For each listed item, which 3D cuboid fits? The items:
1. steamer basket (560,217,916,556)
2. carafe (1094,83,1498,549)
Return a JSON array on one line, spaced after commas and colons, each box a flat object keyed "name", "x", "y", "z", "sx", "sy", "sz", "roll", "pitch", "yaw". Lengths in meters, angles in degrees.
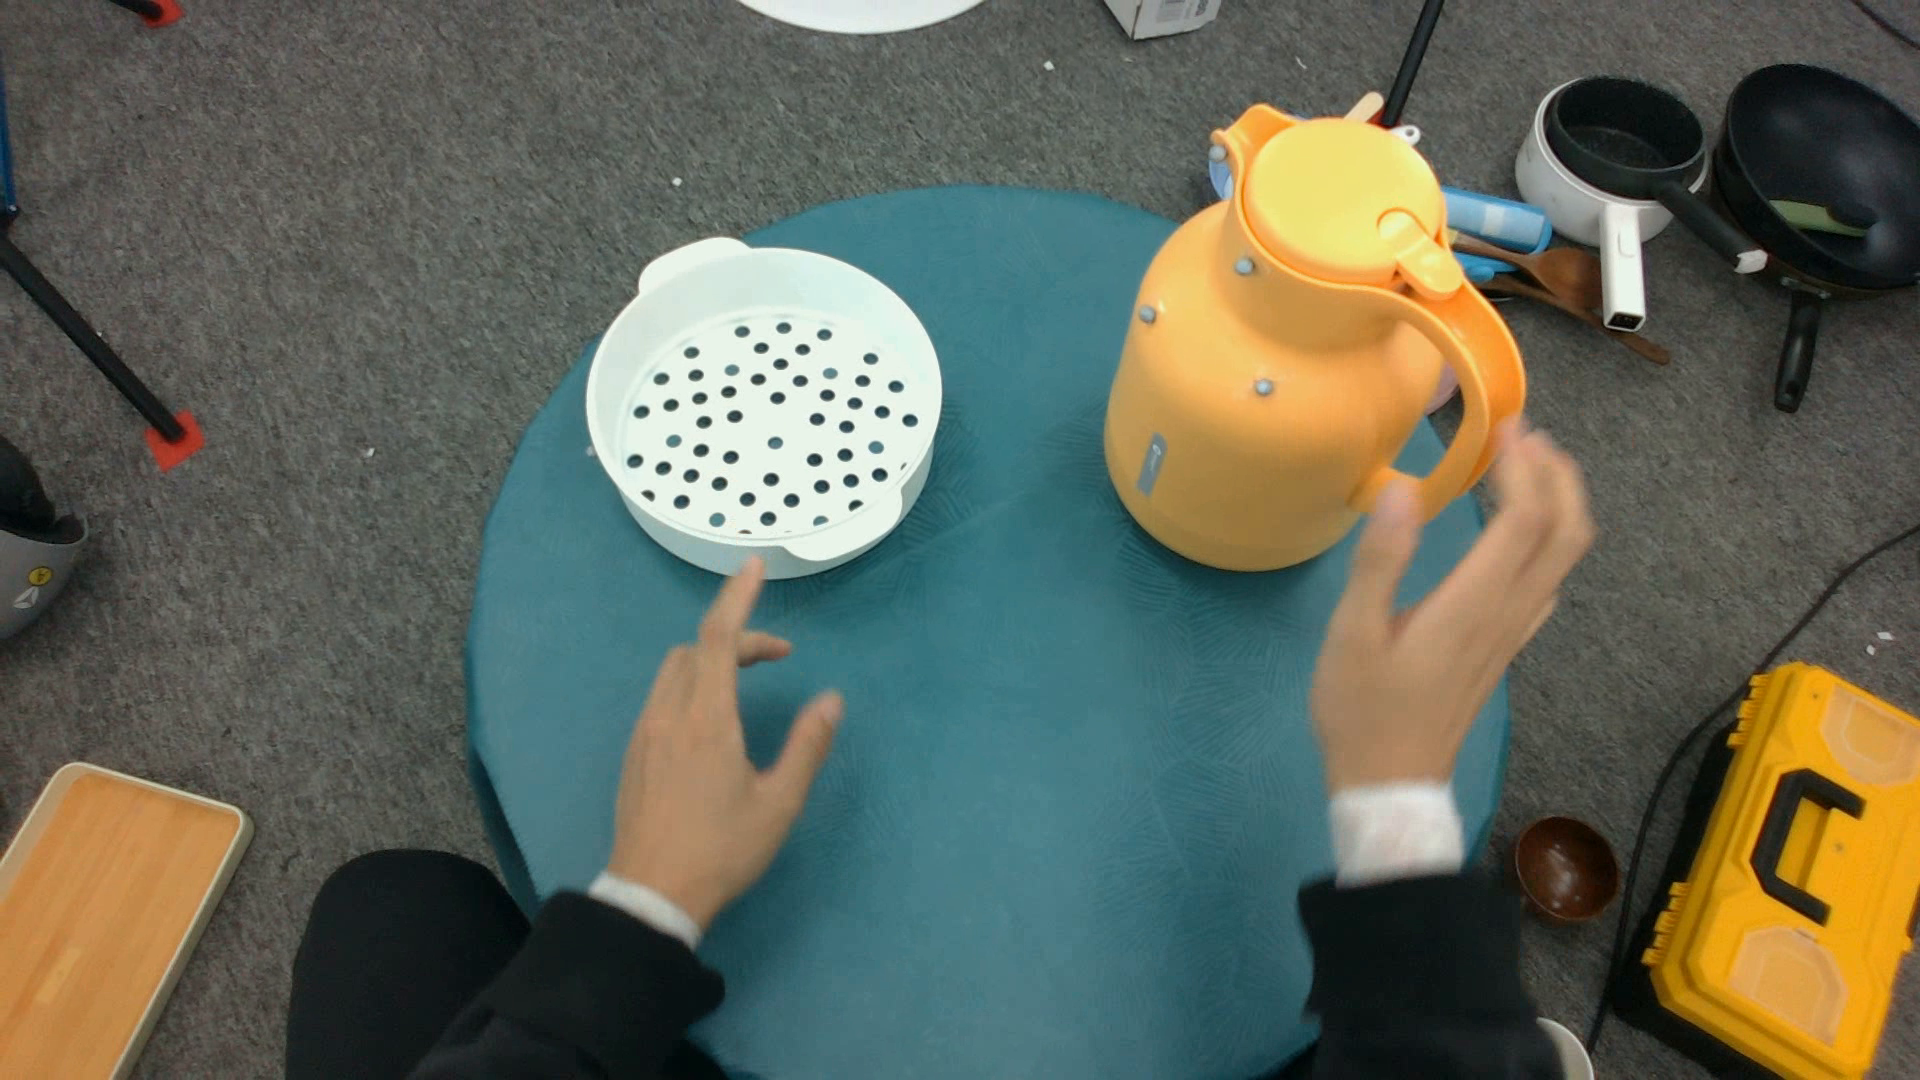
[{"name": "steamer basket", "x": -0.127, "y": -0.087, "z": 0.811, "sx": 0.202, "sy": 0.069, "sz": 0.231, "roll": -26, "pitch": 67, "yaw": -17}, {"name": "carafe", "x": 0.172, "y": -0.099, "z": 0.725, "sx": 0.164, "sy": 0.259, "sz": 0.202, "roll": -34, "pitch": 68, "yaw": -15}]
